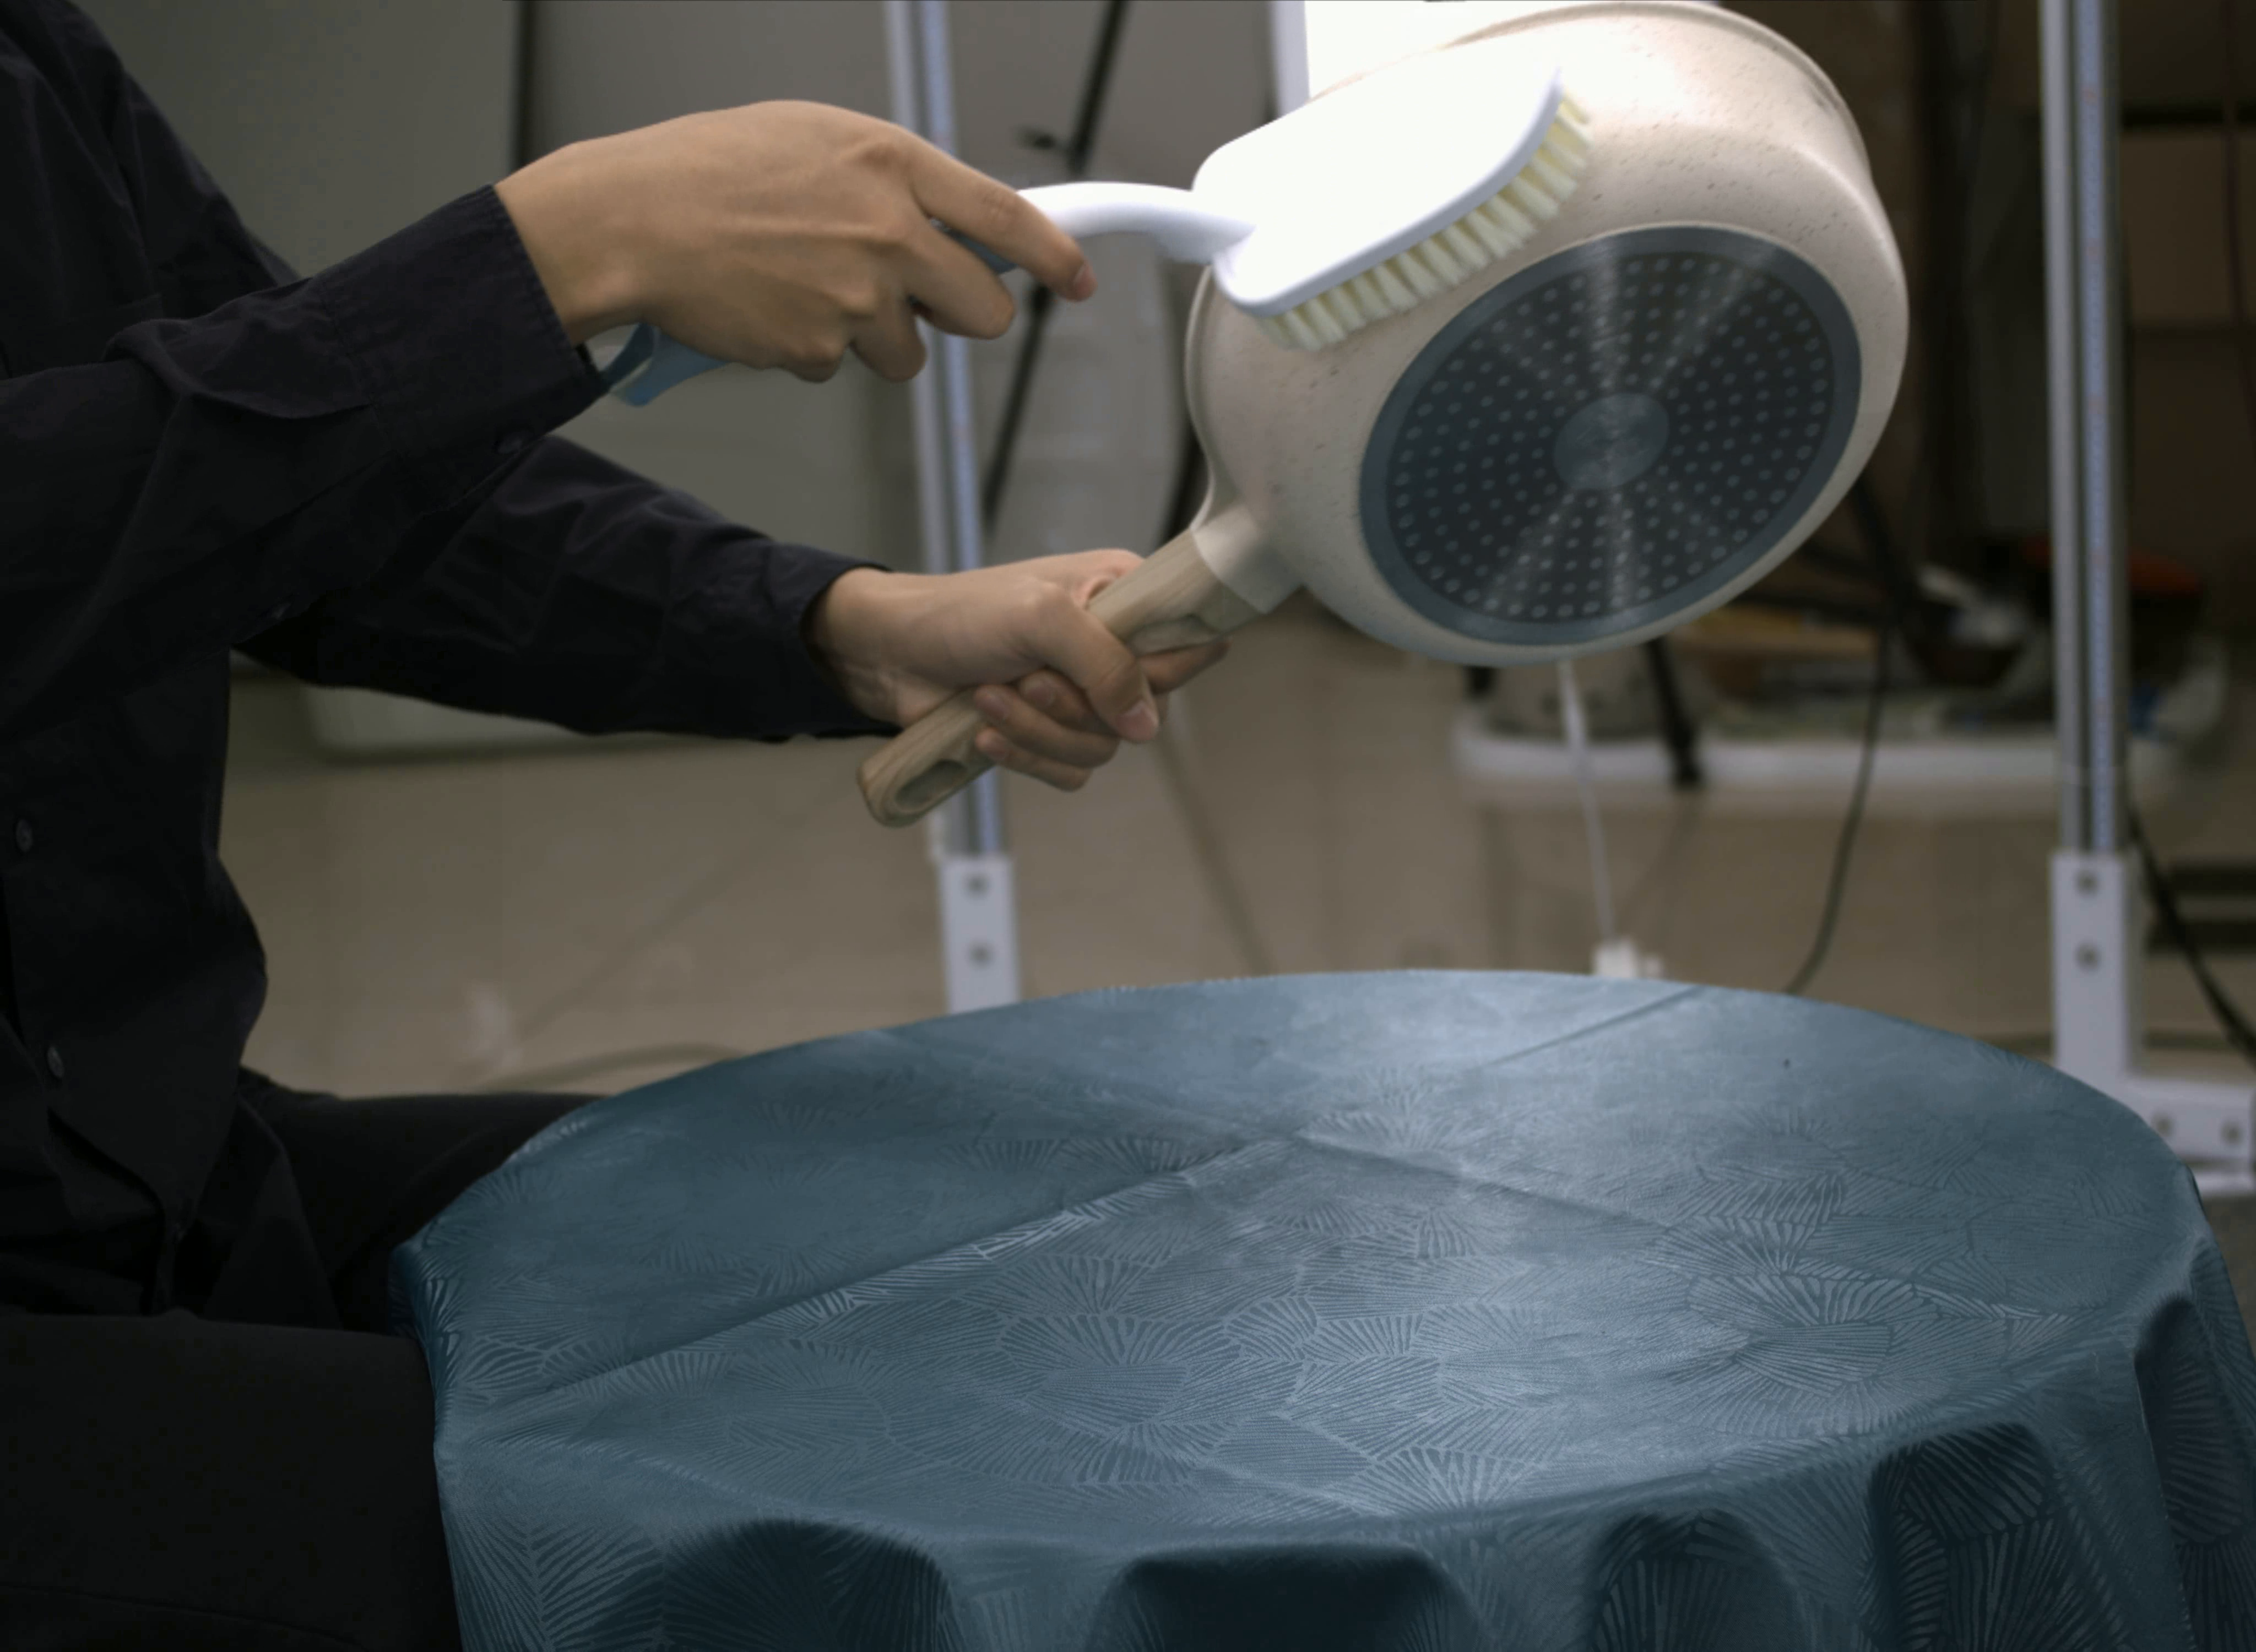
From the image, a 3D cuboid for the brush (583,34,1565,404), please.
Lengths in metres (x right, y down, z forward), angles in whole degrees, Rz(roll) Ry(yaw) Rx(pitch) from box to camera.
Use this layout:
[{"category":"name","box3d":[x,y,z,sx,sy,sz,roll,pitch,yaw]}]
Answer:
[{"category":"brush","box3d":[-0.015,-0.180,1.771,0.326,0.084,0.083,-18,21,6]}]

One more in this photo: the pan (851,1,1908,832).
[{"category":"pan","box3d":[0.082,-0.106,1.903,0.440,0.258,0.102,-39,46,18]}]
